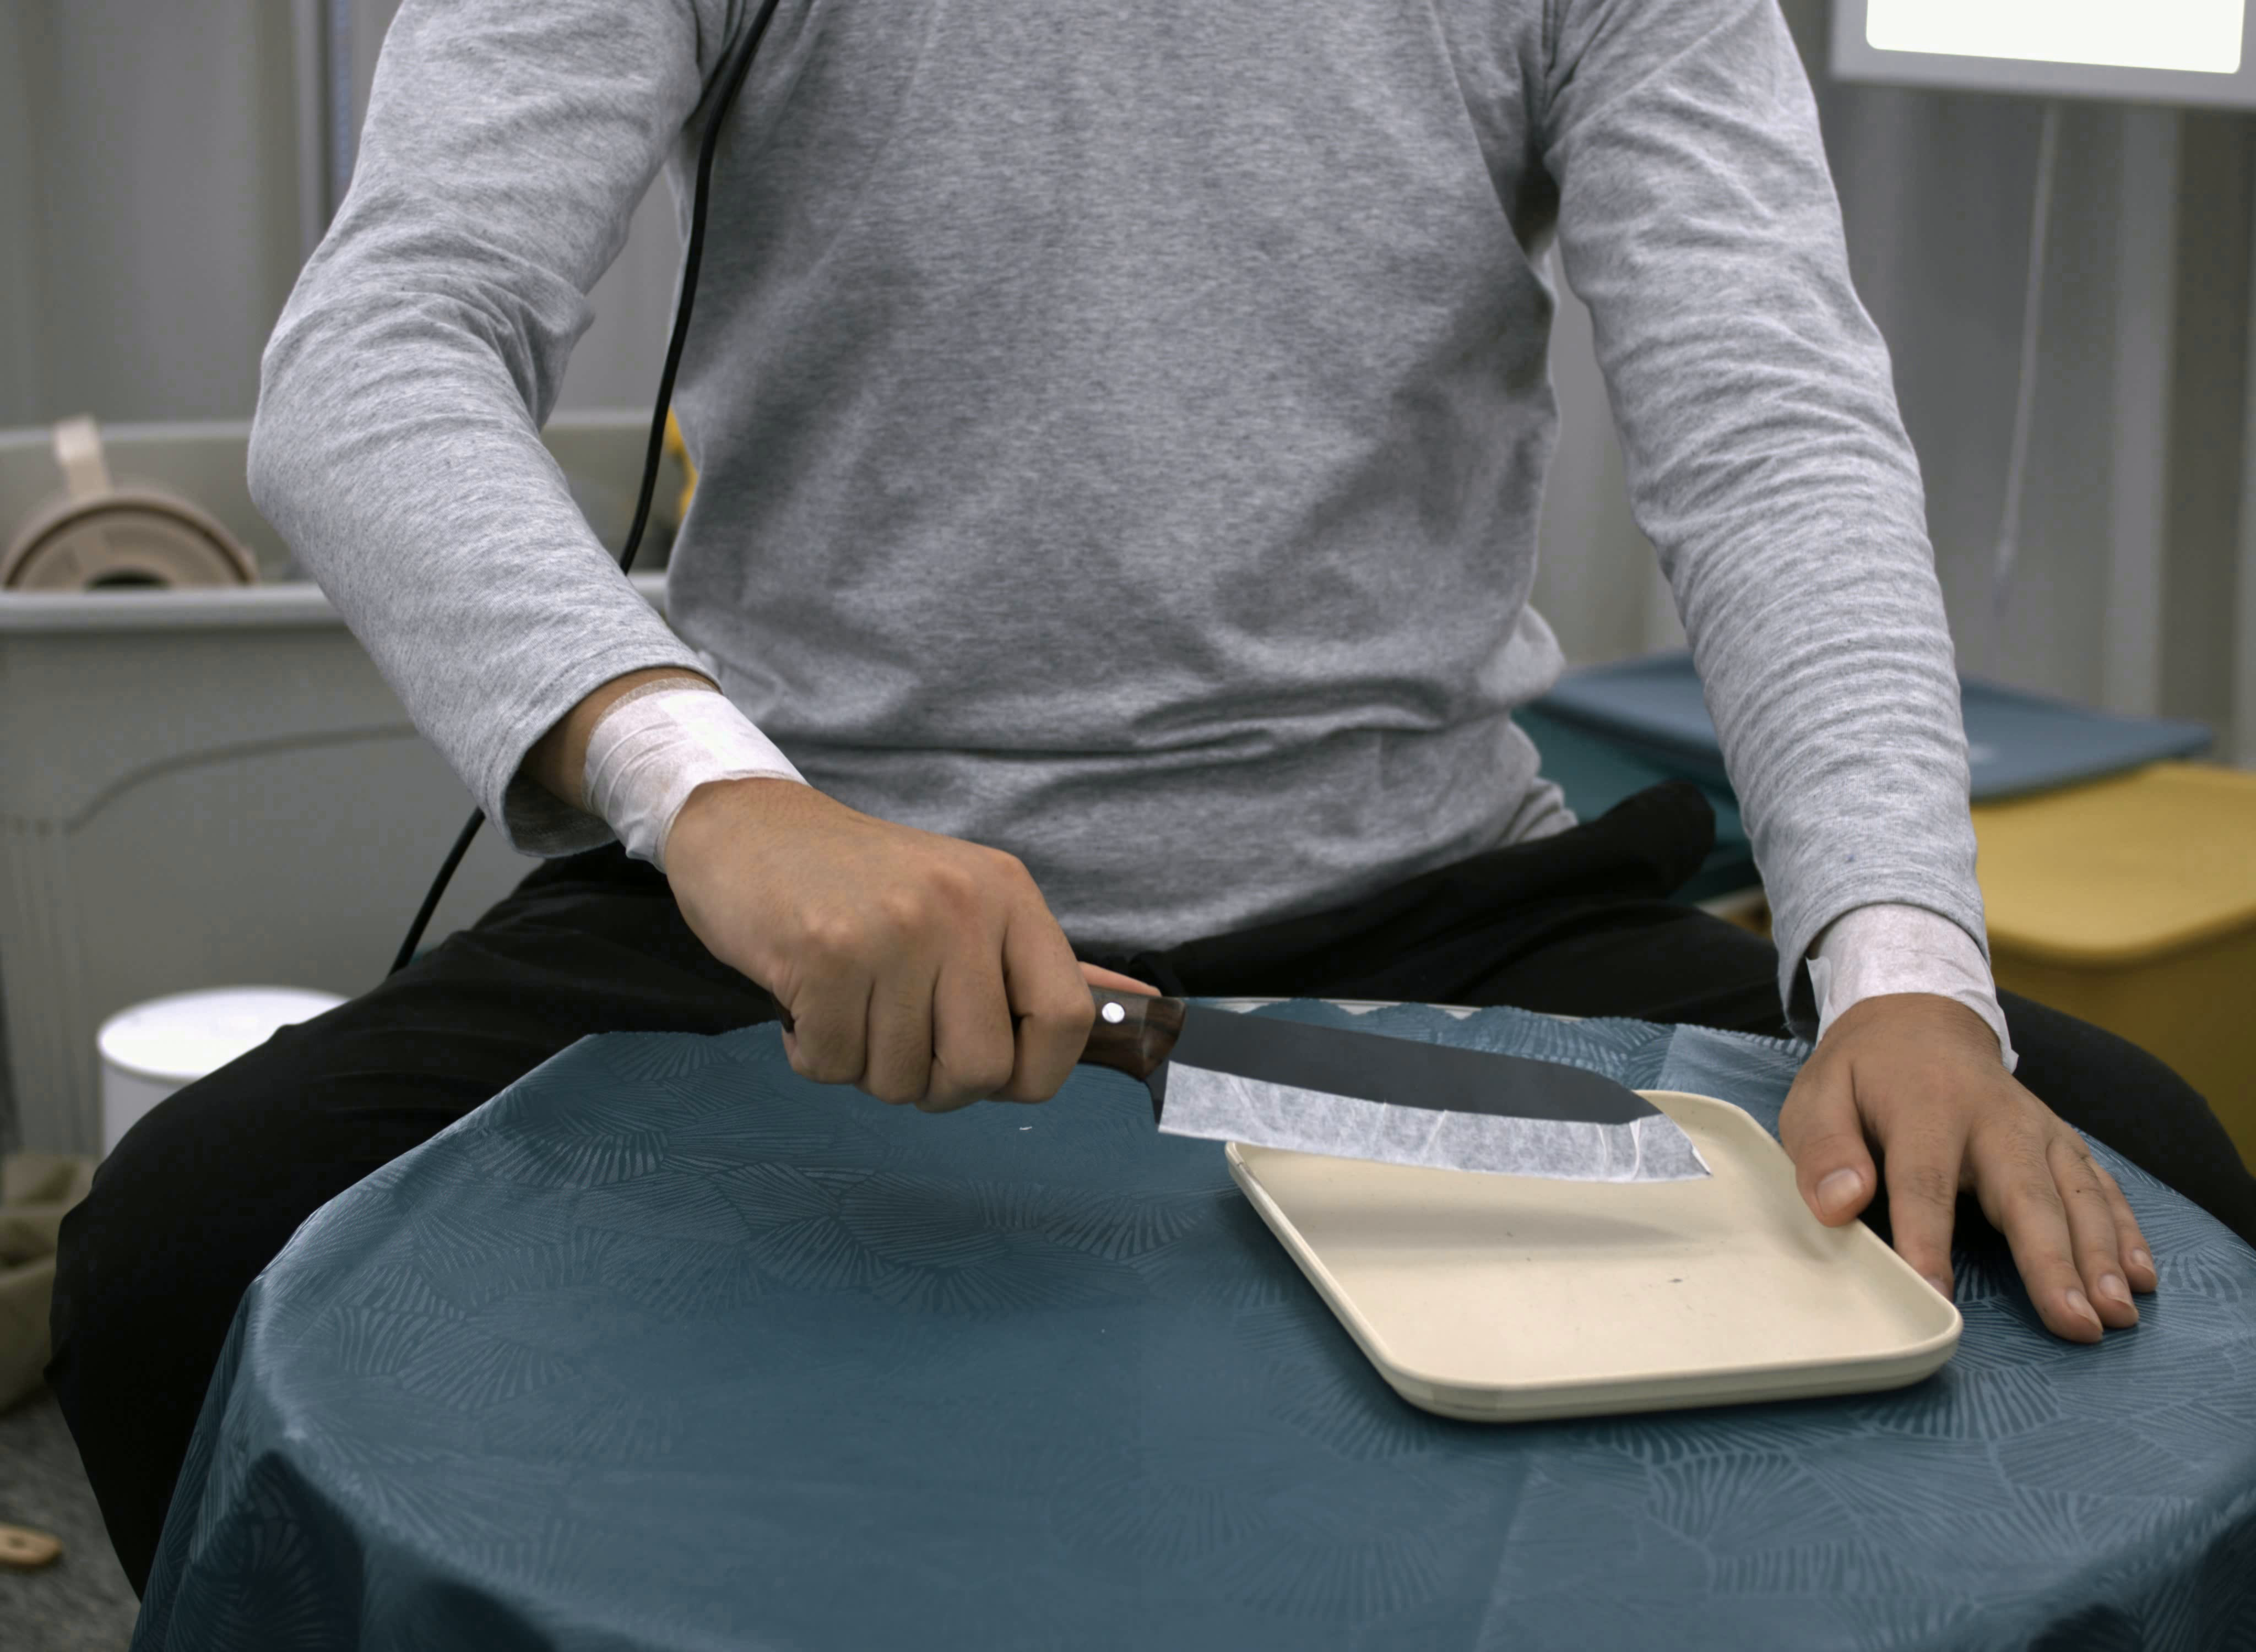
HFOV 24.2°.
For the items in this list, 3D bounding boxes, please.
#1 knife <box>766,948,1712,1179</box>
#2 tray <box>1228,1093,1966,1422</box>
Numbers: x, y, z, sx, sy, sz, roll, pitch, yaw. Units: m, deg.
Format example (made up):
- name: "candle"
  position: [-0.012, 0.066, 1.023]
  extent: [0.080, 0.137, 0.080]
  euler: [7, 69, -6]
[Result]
- name: "knife"
  position: [0.033, 0.072, 1.568]
  extent: [0.288, 0.020, 0.050]
  euler: [11, 61, -2]
- name: "tray"
  position: [0.133, 0.125, 1.551]
  extent: [0.171, 0.017, 0.237]
  euler: [-3, 15, -12]
